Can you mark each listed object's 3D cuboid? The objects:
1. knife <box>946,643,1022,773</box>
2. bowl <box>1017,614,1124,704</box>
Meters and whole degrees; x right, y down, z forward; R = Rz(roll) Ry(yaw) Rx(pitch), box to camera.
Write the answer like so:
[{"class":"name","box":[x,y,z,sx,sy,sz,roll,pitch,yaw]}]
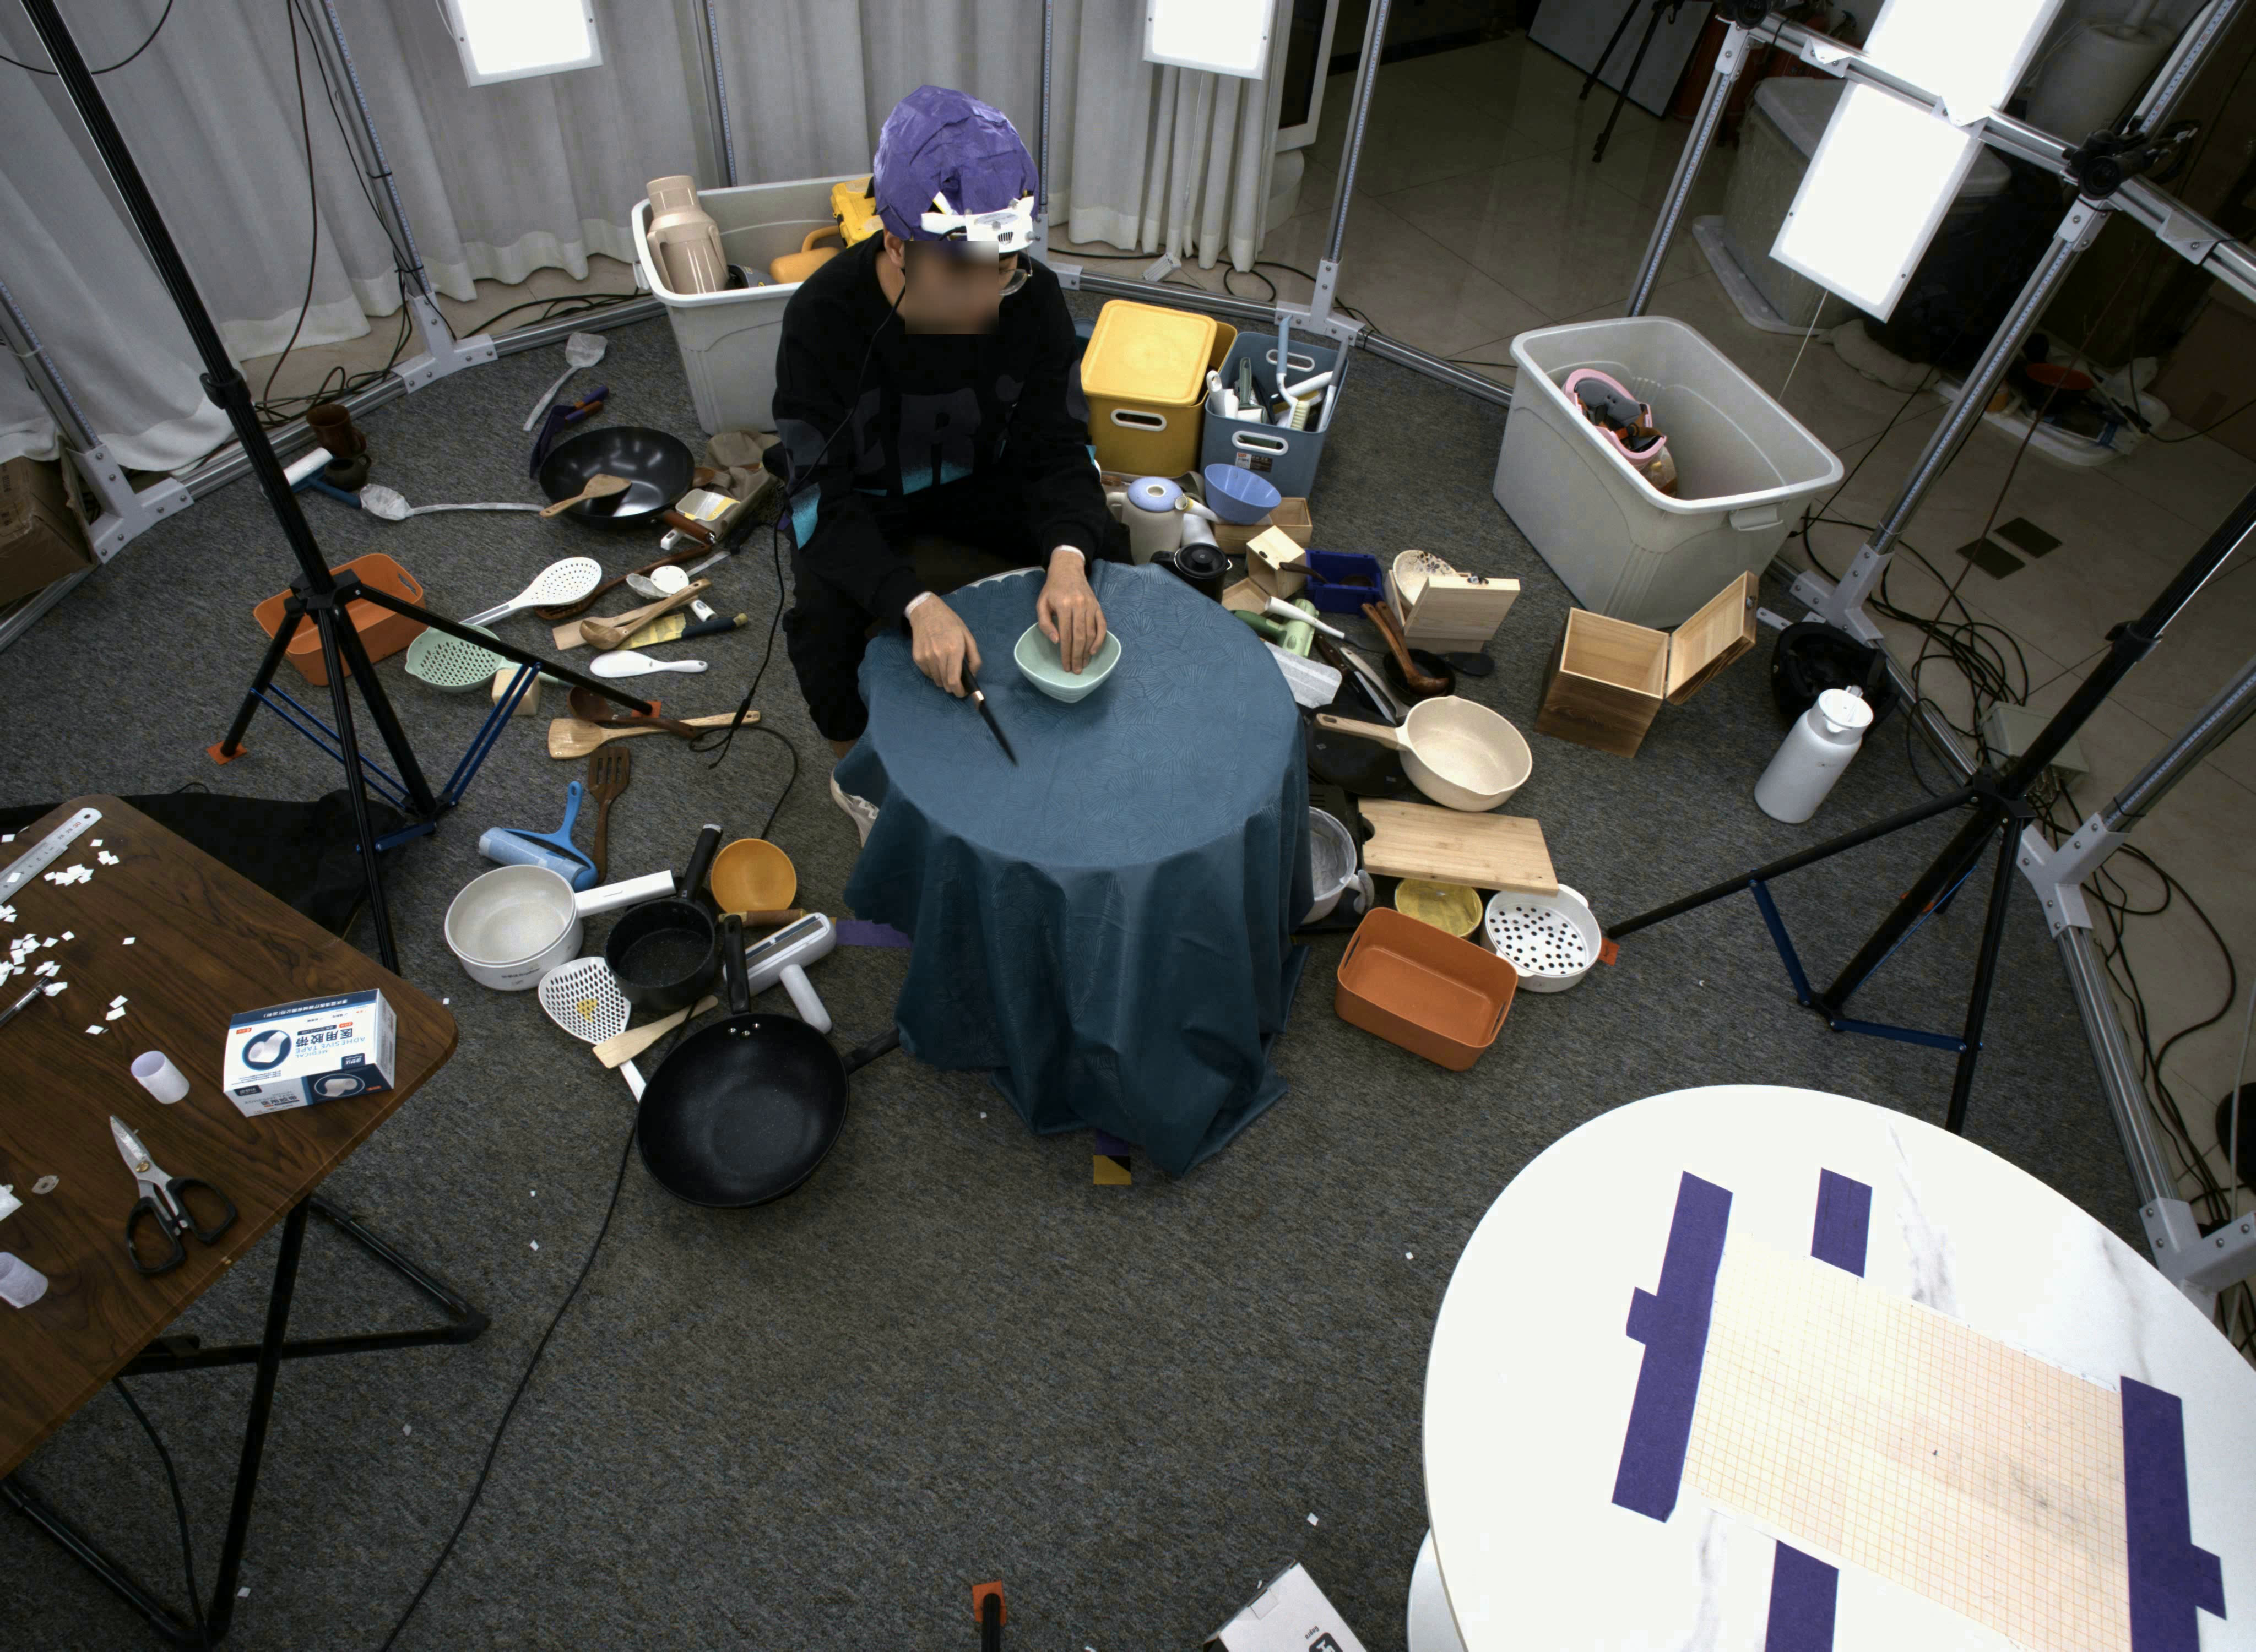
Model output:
[{"class":"knife","box":[-0.197,-0.165,1.775,0.017,0.026,0.229,-8,57,-42]},{"class":"bowl","box":[-0.081,-0.229,1.827,0.151,0.057,0.155,1,50,-2]}]
